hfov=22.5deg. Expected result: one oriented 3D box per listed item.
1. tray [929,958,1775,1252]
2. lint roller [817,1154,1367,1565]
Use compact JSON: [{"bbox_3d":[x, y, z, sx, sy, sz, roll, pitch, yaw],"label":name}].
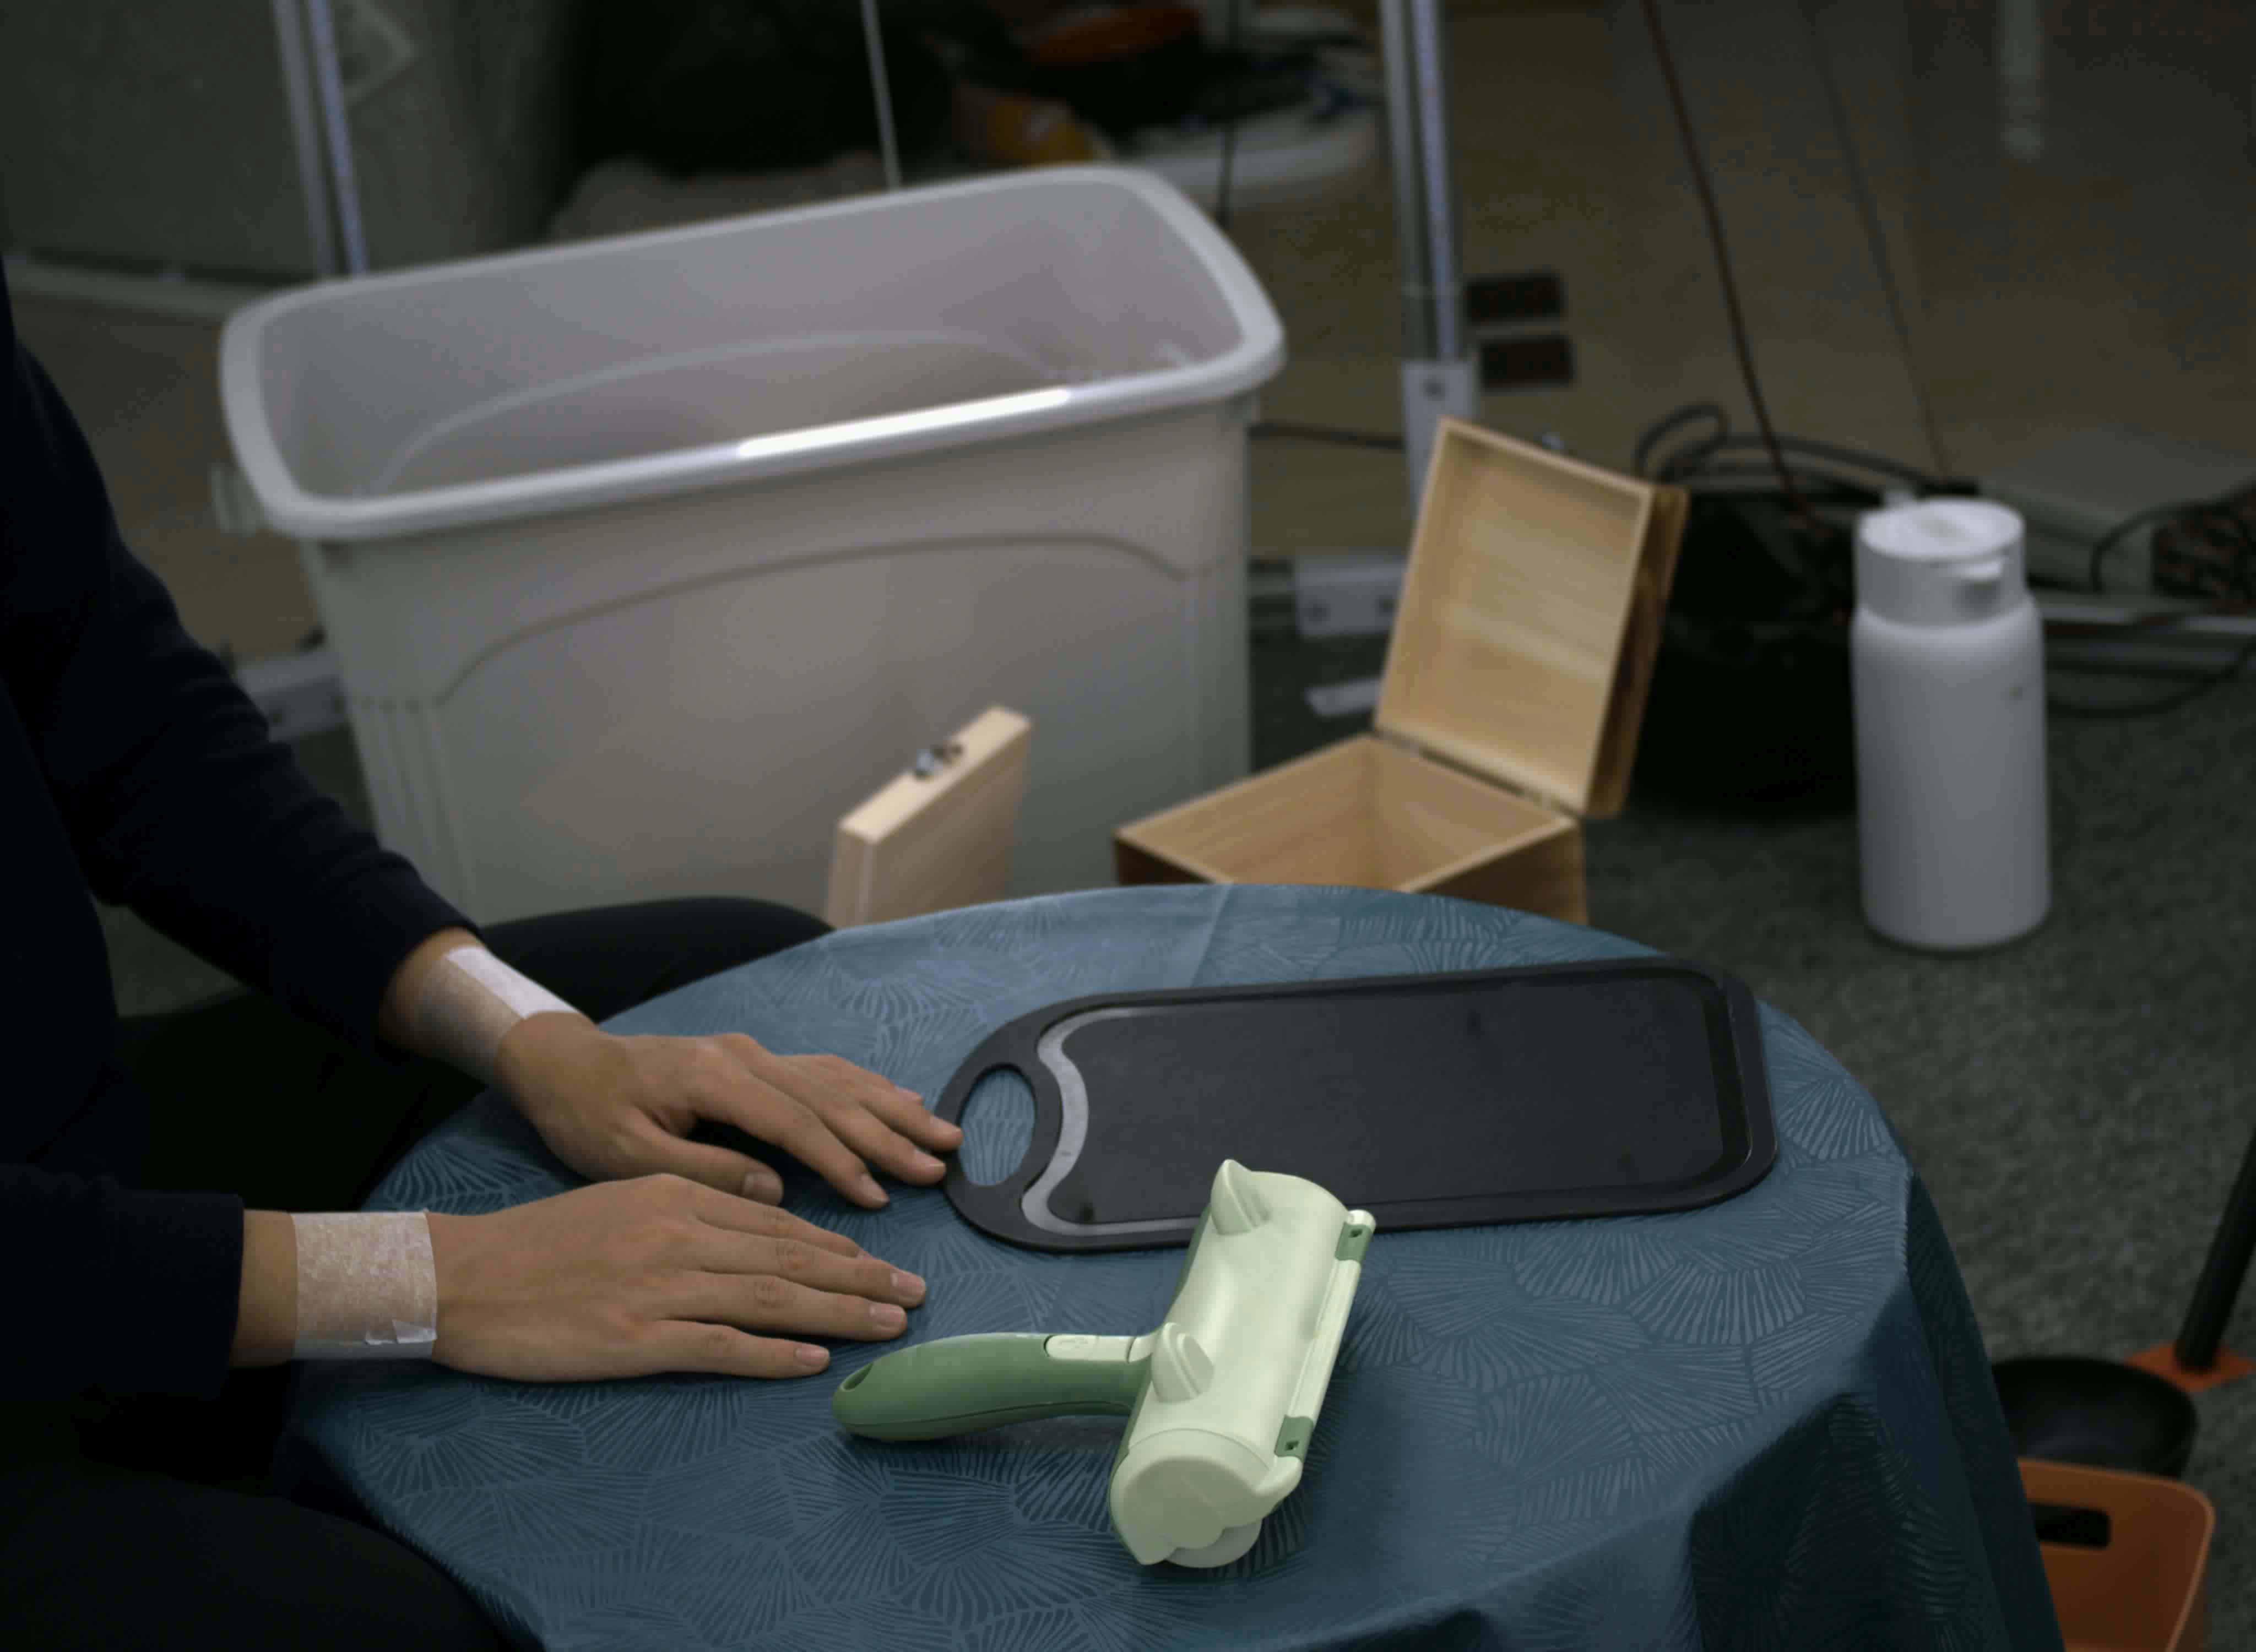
[{"bbox_3d":[0.084,0.105,2.190,0.325,0.010,0.208,-4,25,5],"label":"tray"},{"bbox_3d":[-0.019,0.174,1.973,0.183,0.083,0.196,5,26,9],"label":"lint roller"}]
